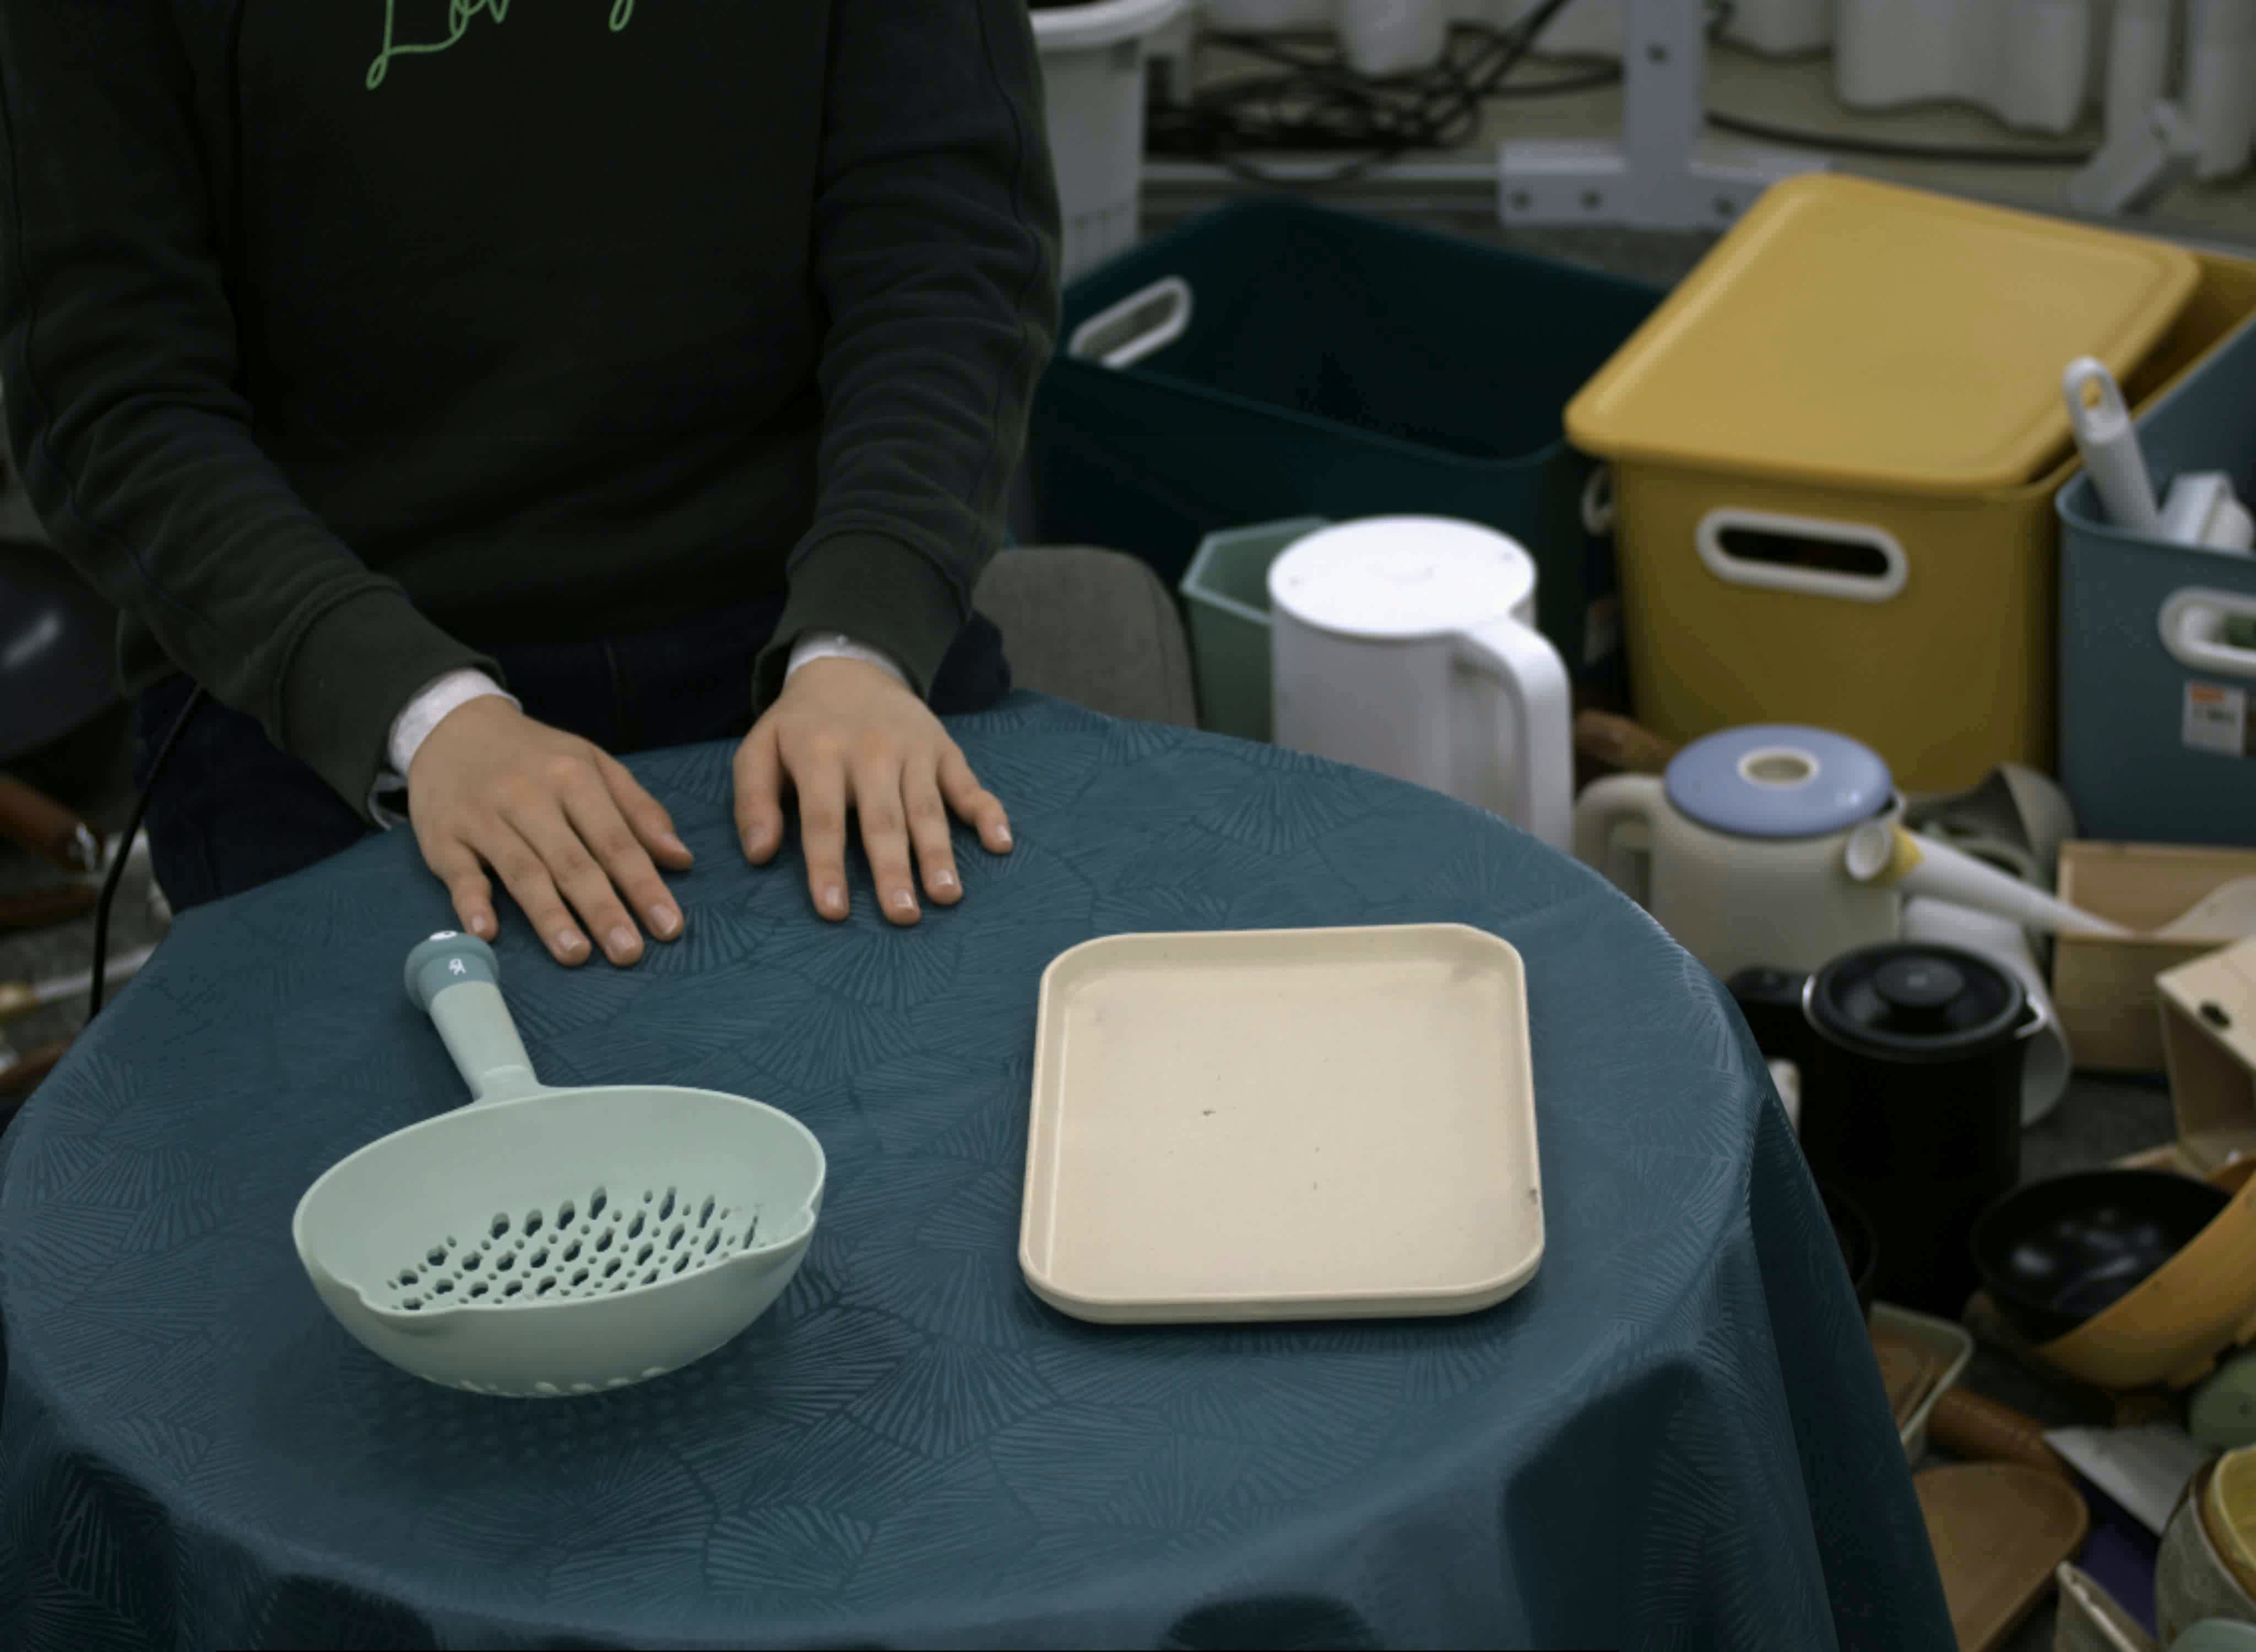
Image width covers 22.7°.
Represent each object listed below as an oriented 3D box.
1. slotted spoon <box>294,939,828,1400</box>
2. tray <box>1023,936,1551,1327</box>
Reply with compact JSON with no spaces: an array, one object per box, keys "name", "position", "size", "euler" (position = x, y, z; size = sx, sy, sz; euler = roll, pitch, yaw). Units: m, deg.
[{"name":"slotted spoon","position":[-0.202,0.098,1.859],"size":[0.169,0.074,0.362],"euler":[-9,27,-13]},{"name":"tray","position":[0.052,0.101,1.878],"size":[0.170,0.017,0.243],"euler":[-2,26,2]}]
